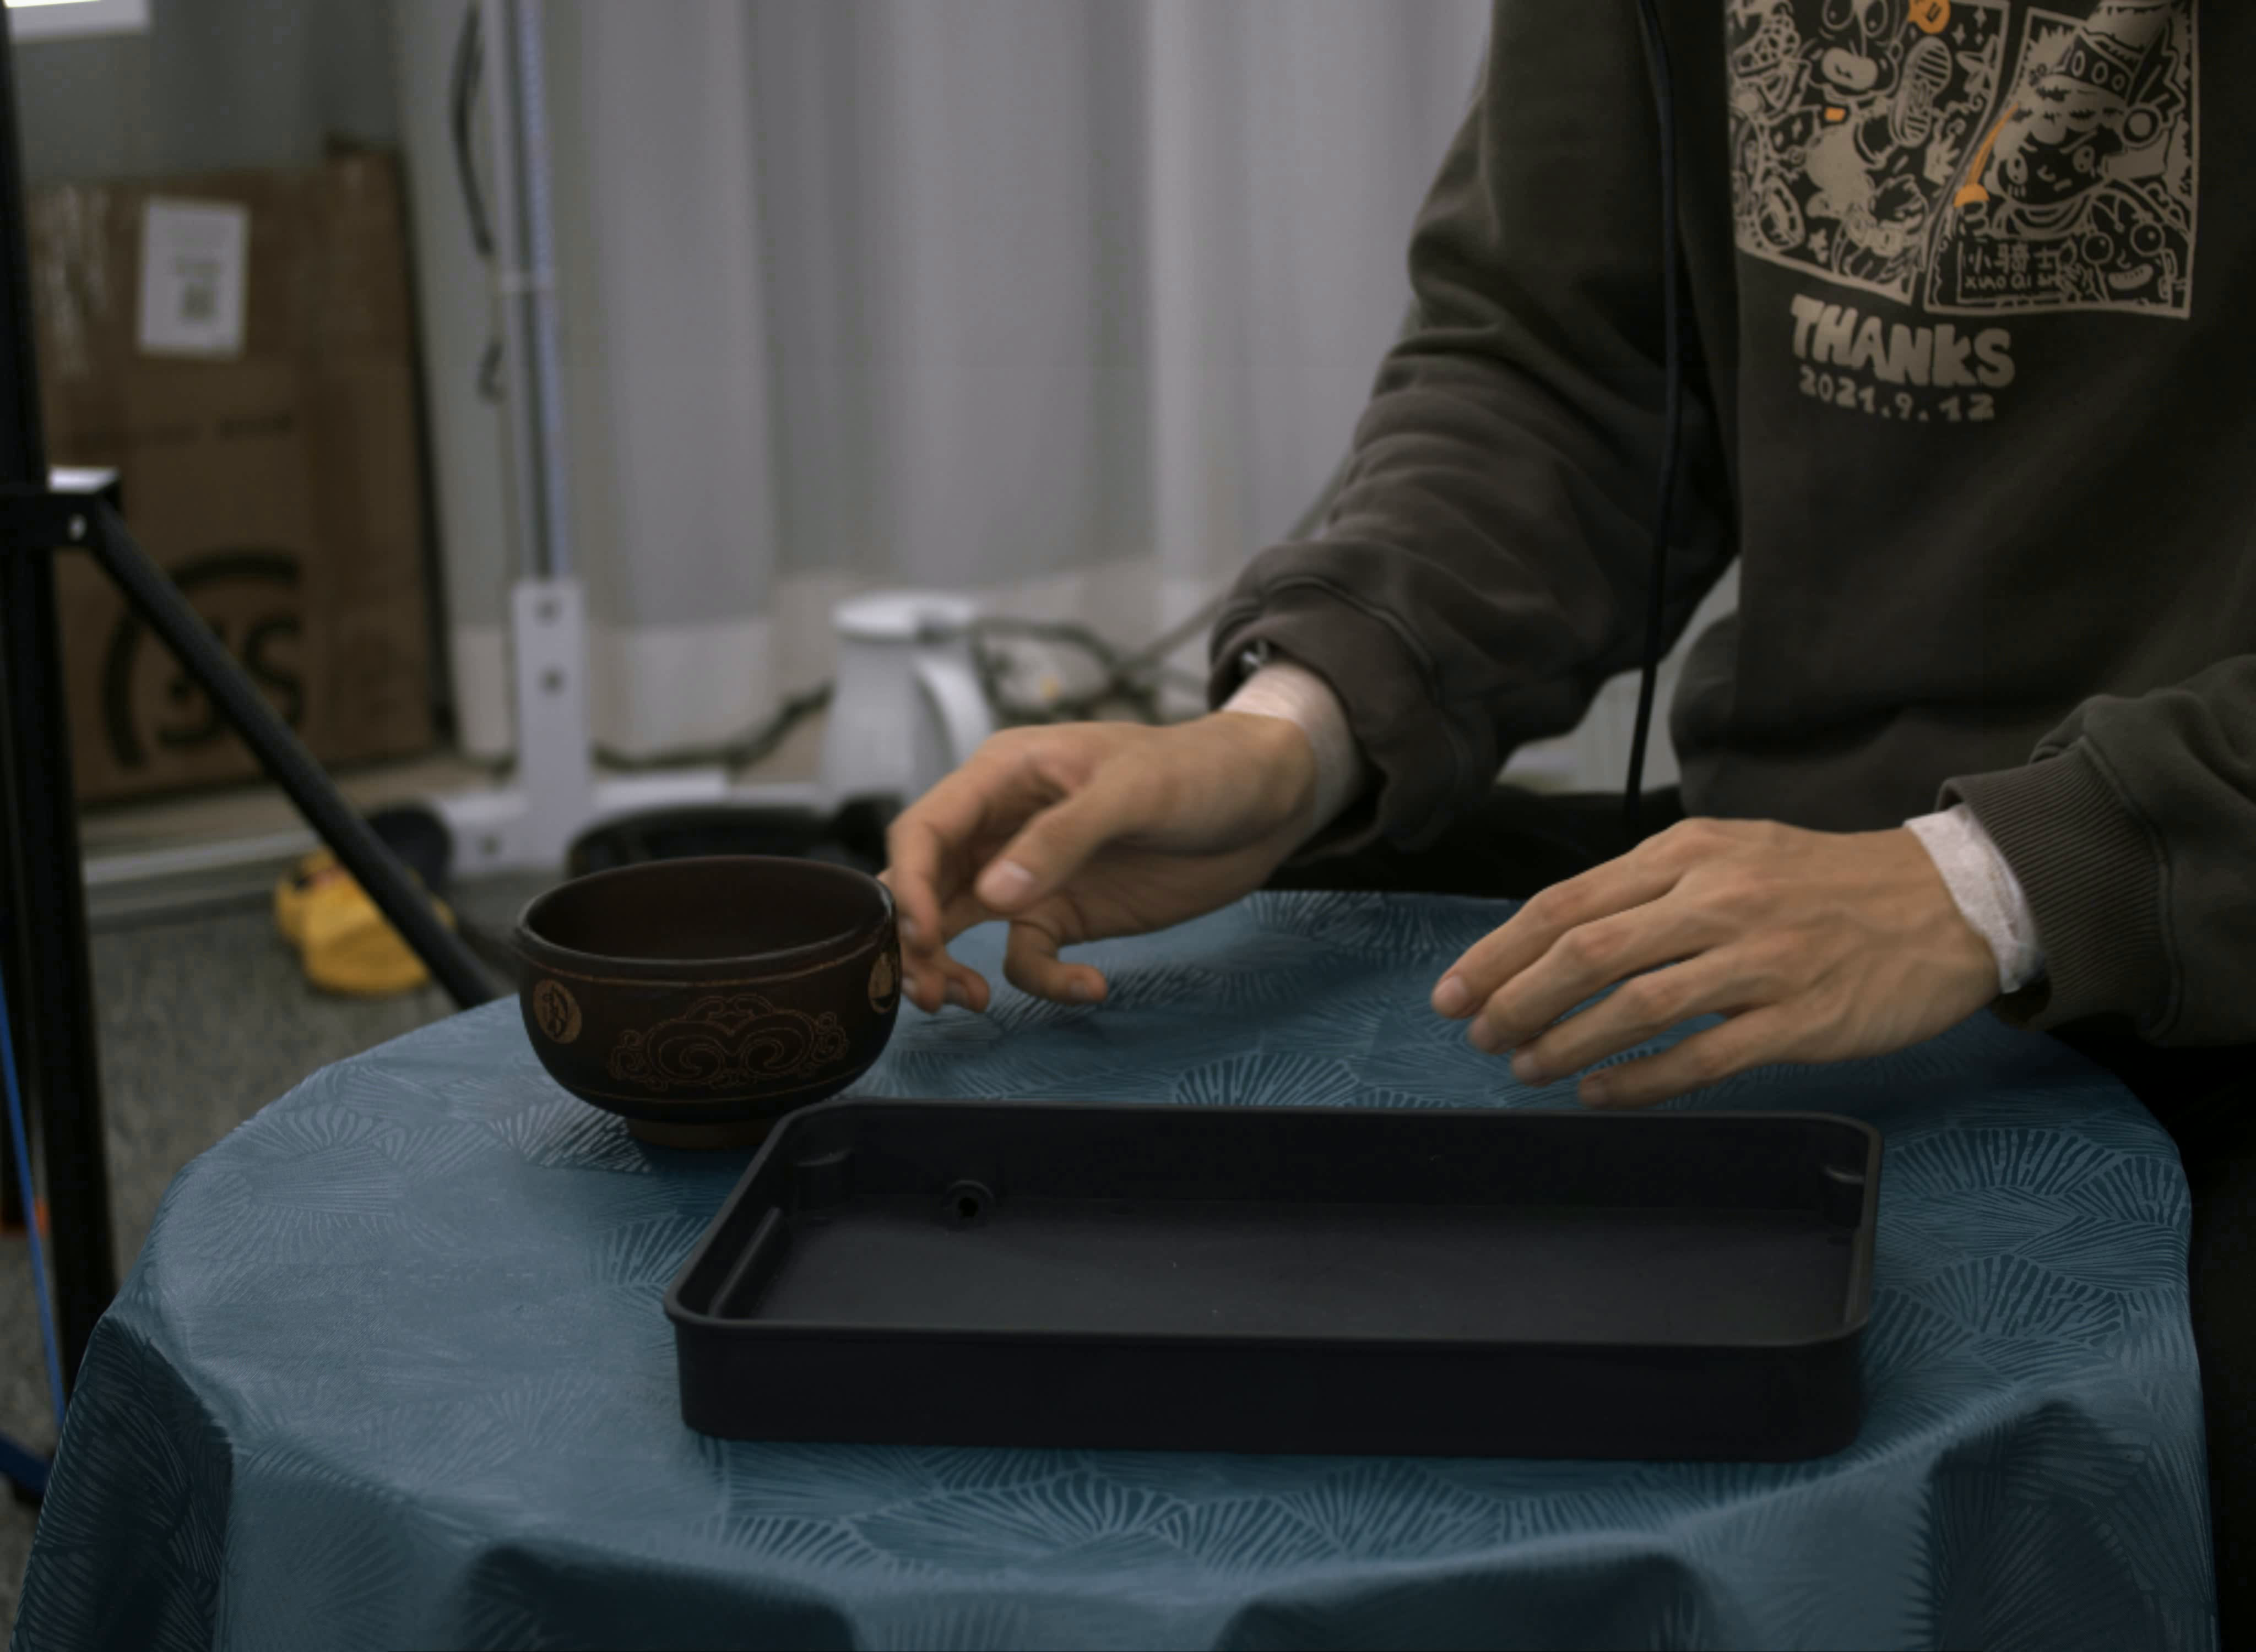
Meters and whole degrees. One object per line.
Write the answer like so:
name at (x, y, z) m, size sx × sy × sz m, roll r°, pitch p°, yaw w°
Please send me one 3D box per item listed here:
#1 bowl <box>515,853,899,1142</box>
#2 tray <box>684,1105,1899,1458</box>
bowl at (-0.128, 0.056, 1.637) m, size 0.117 × 0.070 × 0.118 m, roll -2°, pitch 14°, yaw -1°
tray at (0.050, 0.121, 1.443) m, size 0.319 × 0.037 × 0.184 m, roll -1°, pitch 15°, yaw 9°
